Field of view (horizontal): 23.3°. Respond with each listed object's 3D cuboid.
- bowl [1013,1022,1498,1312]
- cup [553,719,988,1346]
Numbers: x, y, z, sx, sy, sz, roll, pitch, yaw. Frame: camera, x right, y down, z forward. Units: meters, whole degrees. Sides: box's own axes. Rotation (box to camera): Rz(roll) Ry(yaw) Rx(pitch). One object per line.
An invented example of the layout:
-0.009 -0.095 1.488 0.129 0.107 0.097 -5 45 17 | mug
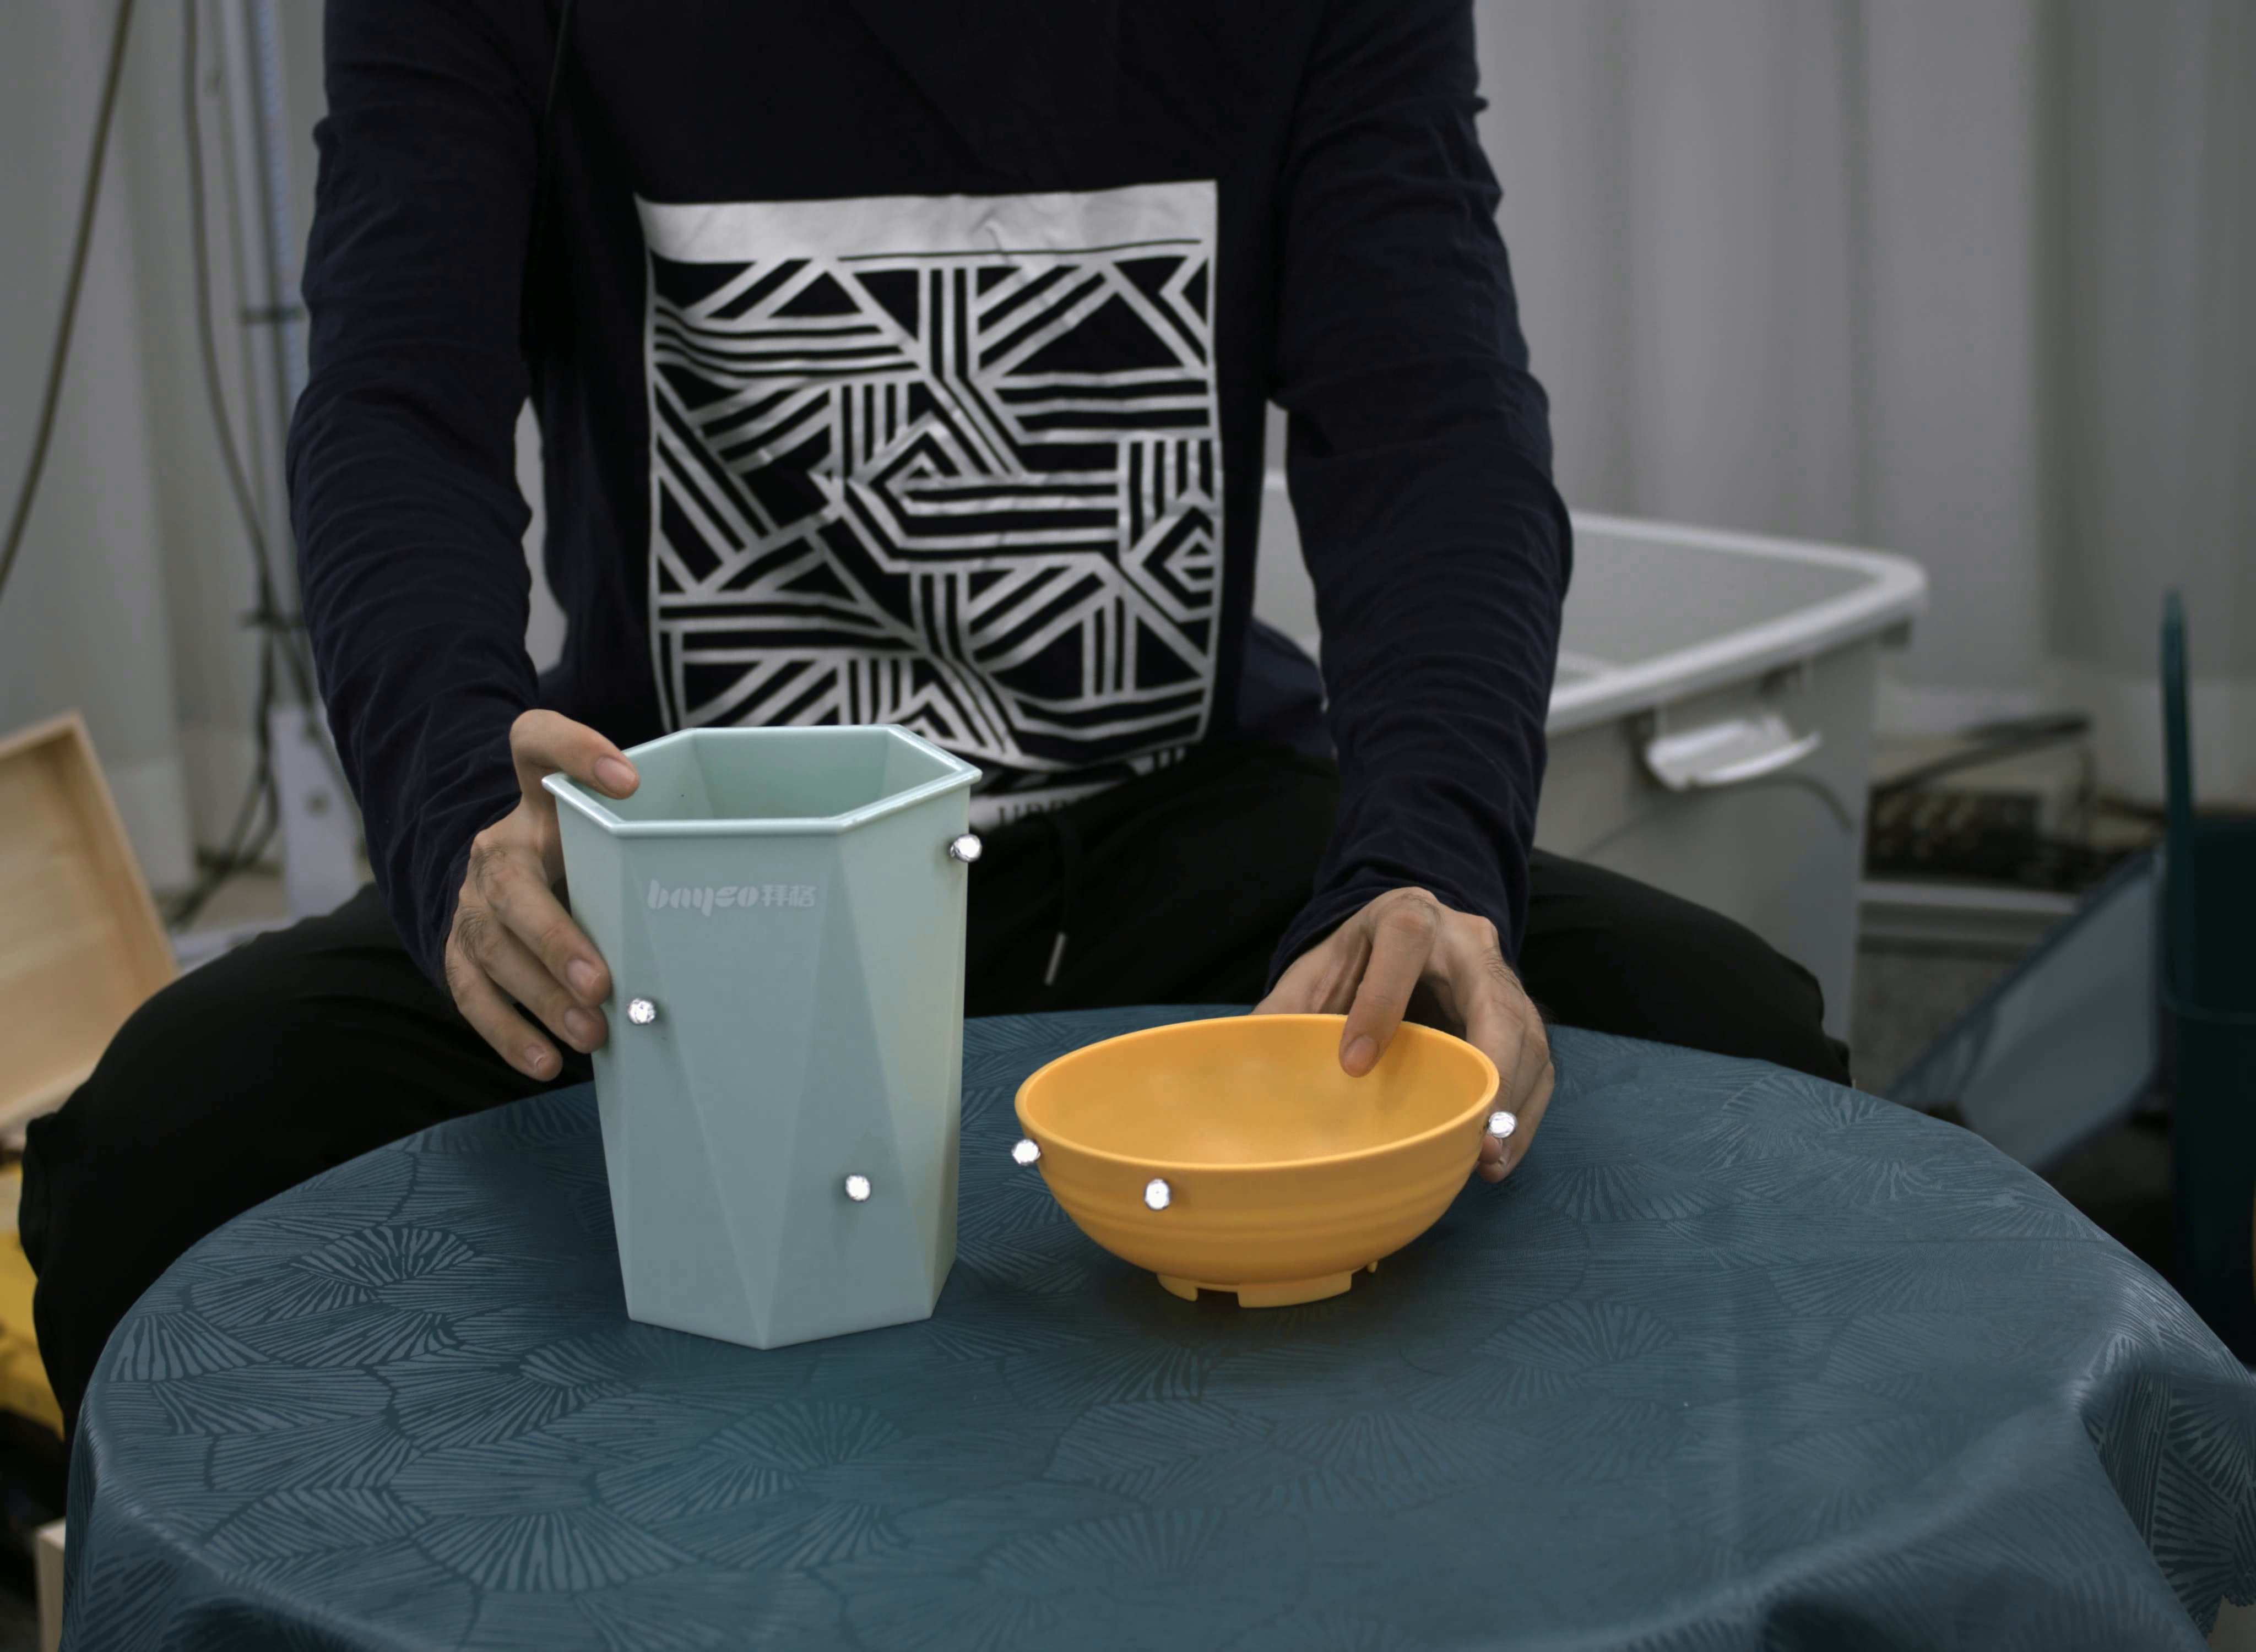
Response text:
0.039 0.107 1.633 0.145 0.060 0.146 -2 14 0 | bowl
-0.102 0.060 1.622 0.131 0.162 0.116 -1 13 5 | cup
